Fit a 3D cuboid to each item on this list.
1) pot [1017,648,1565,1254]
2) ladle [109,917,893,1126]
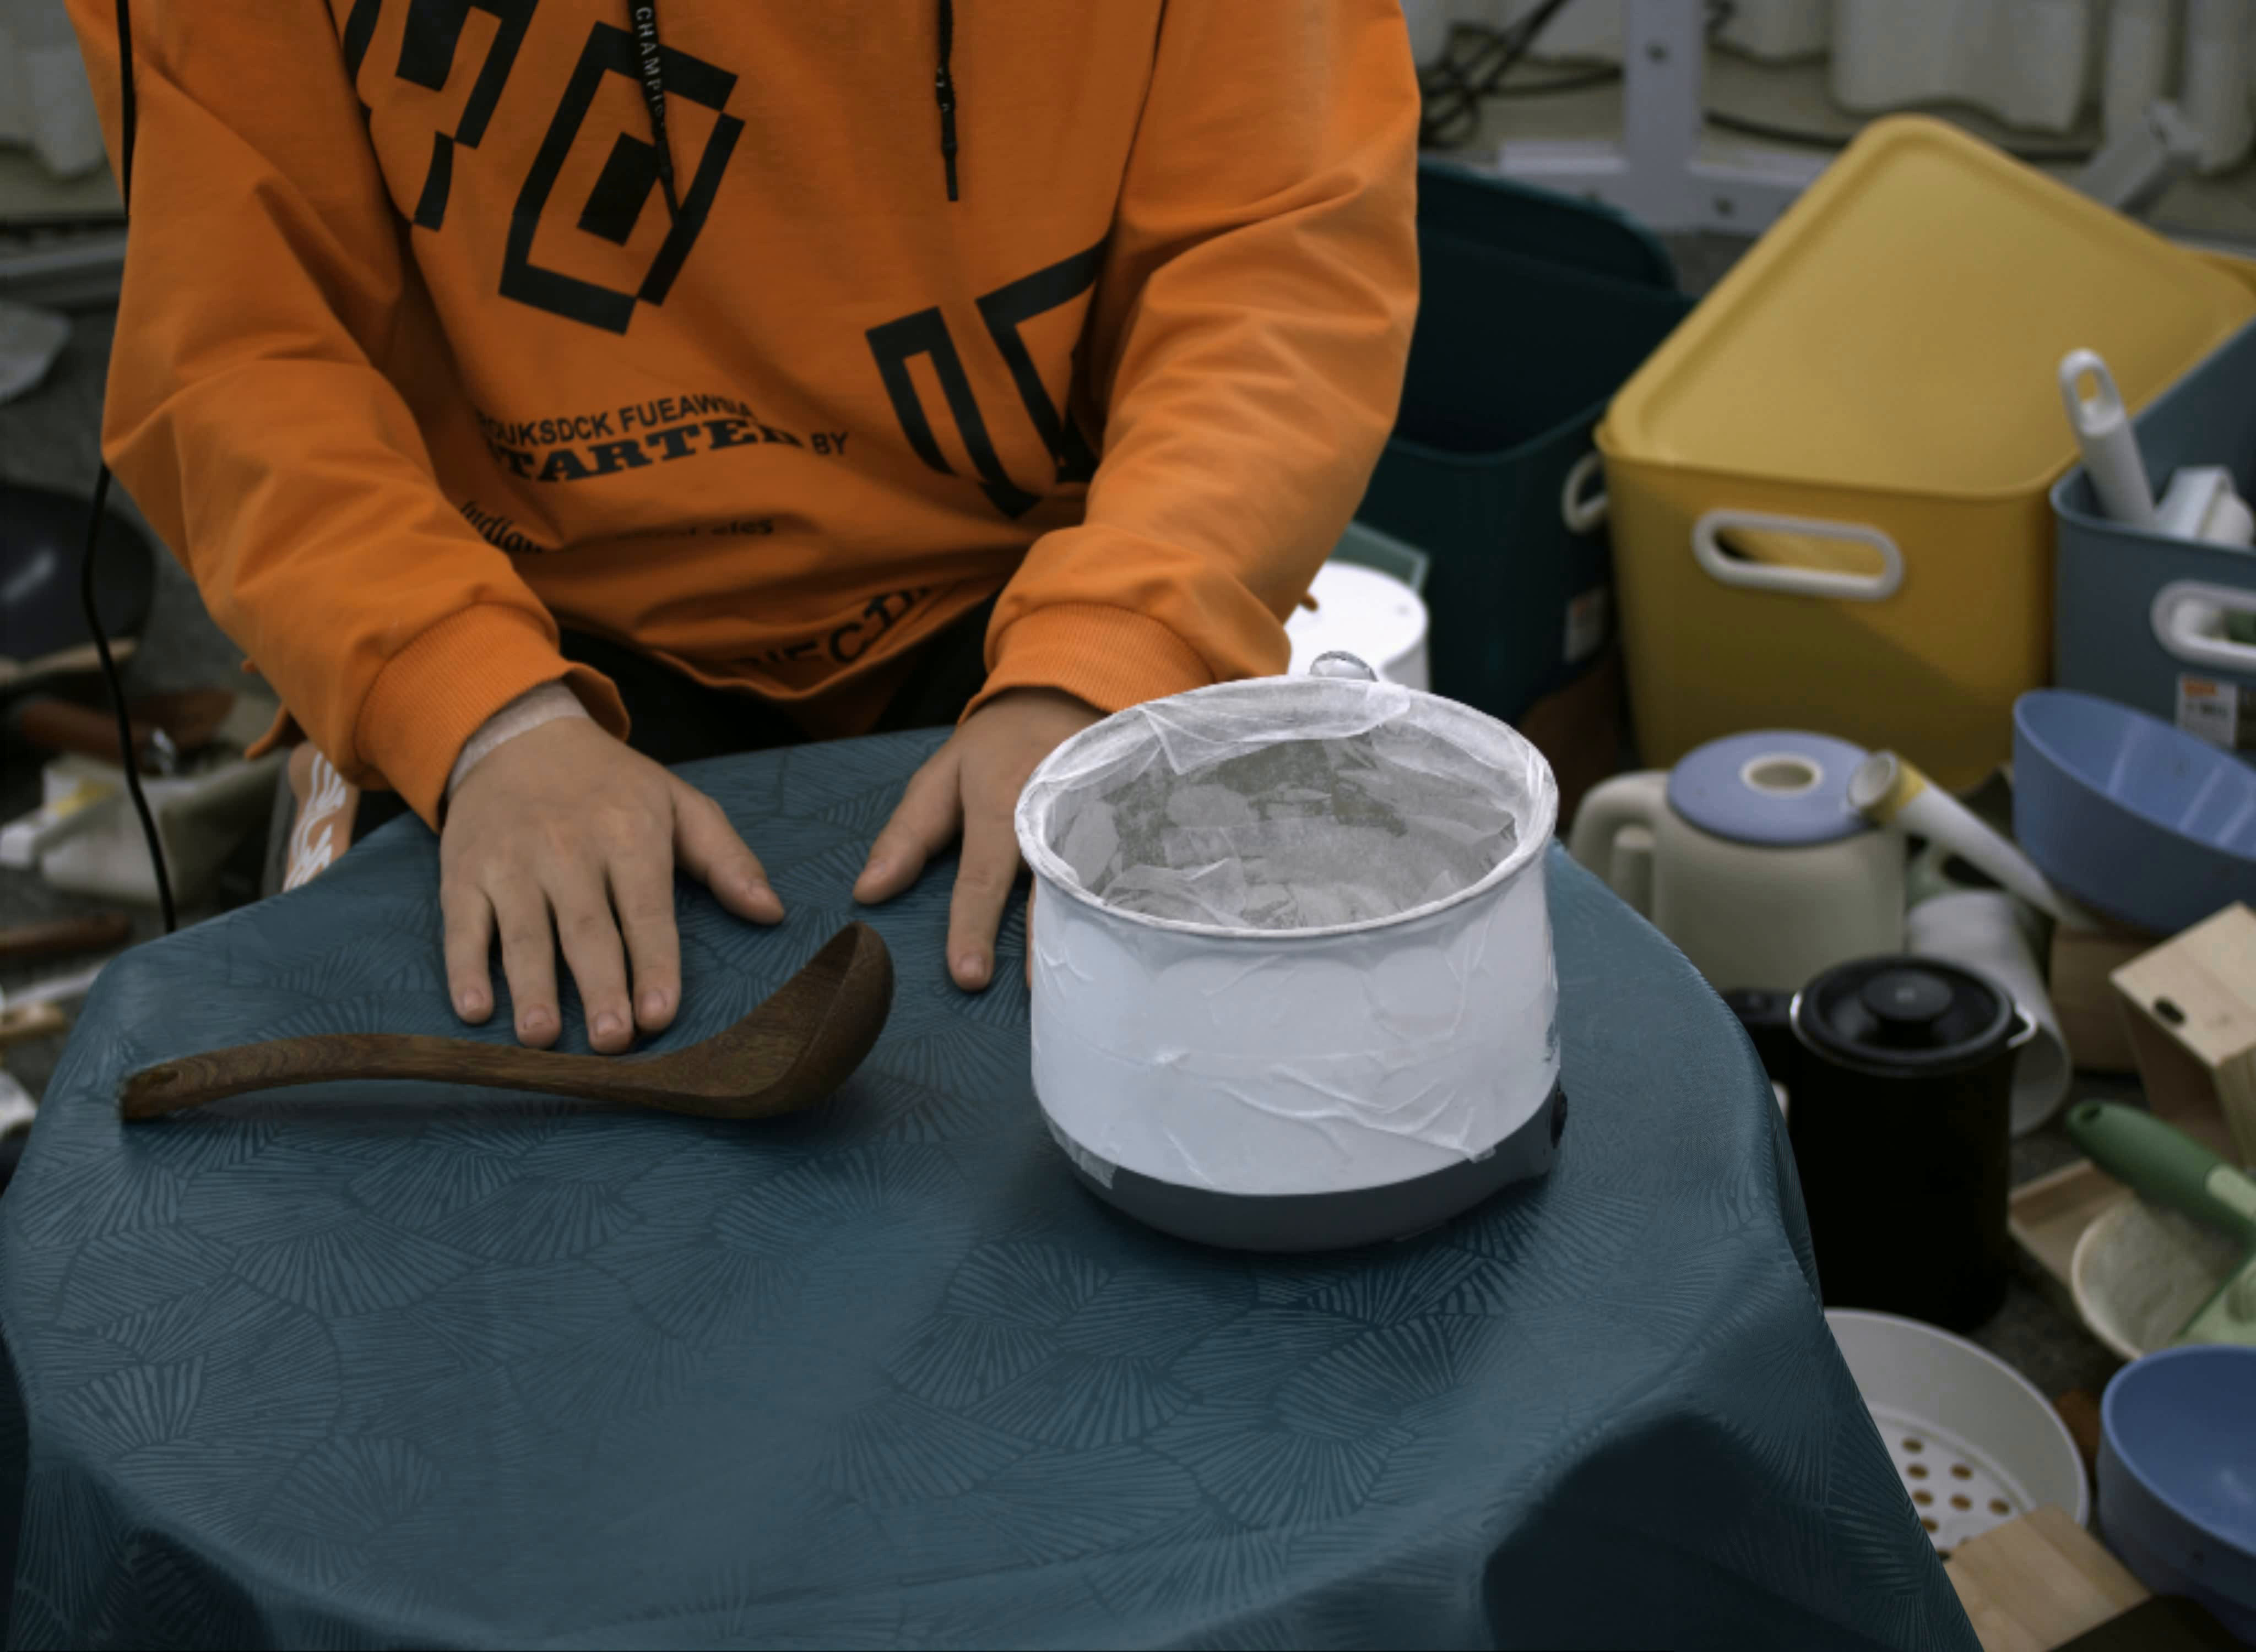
[{"bbox_3d":[0.059,0.034,1.877,0.177,0.135,0.238,3,28,10],"label":"pot"},{"bbox_3d":[-0.215,0.067,1.913,0.272,0.070,0.077,0,25,4],"label":"ladle"}]
